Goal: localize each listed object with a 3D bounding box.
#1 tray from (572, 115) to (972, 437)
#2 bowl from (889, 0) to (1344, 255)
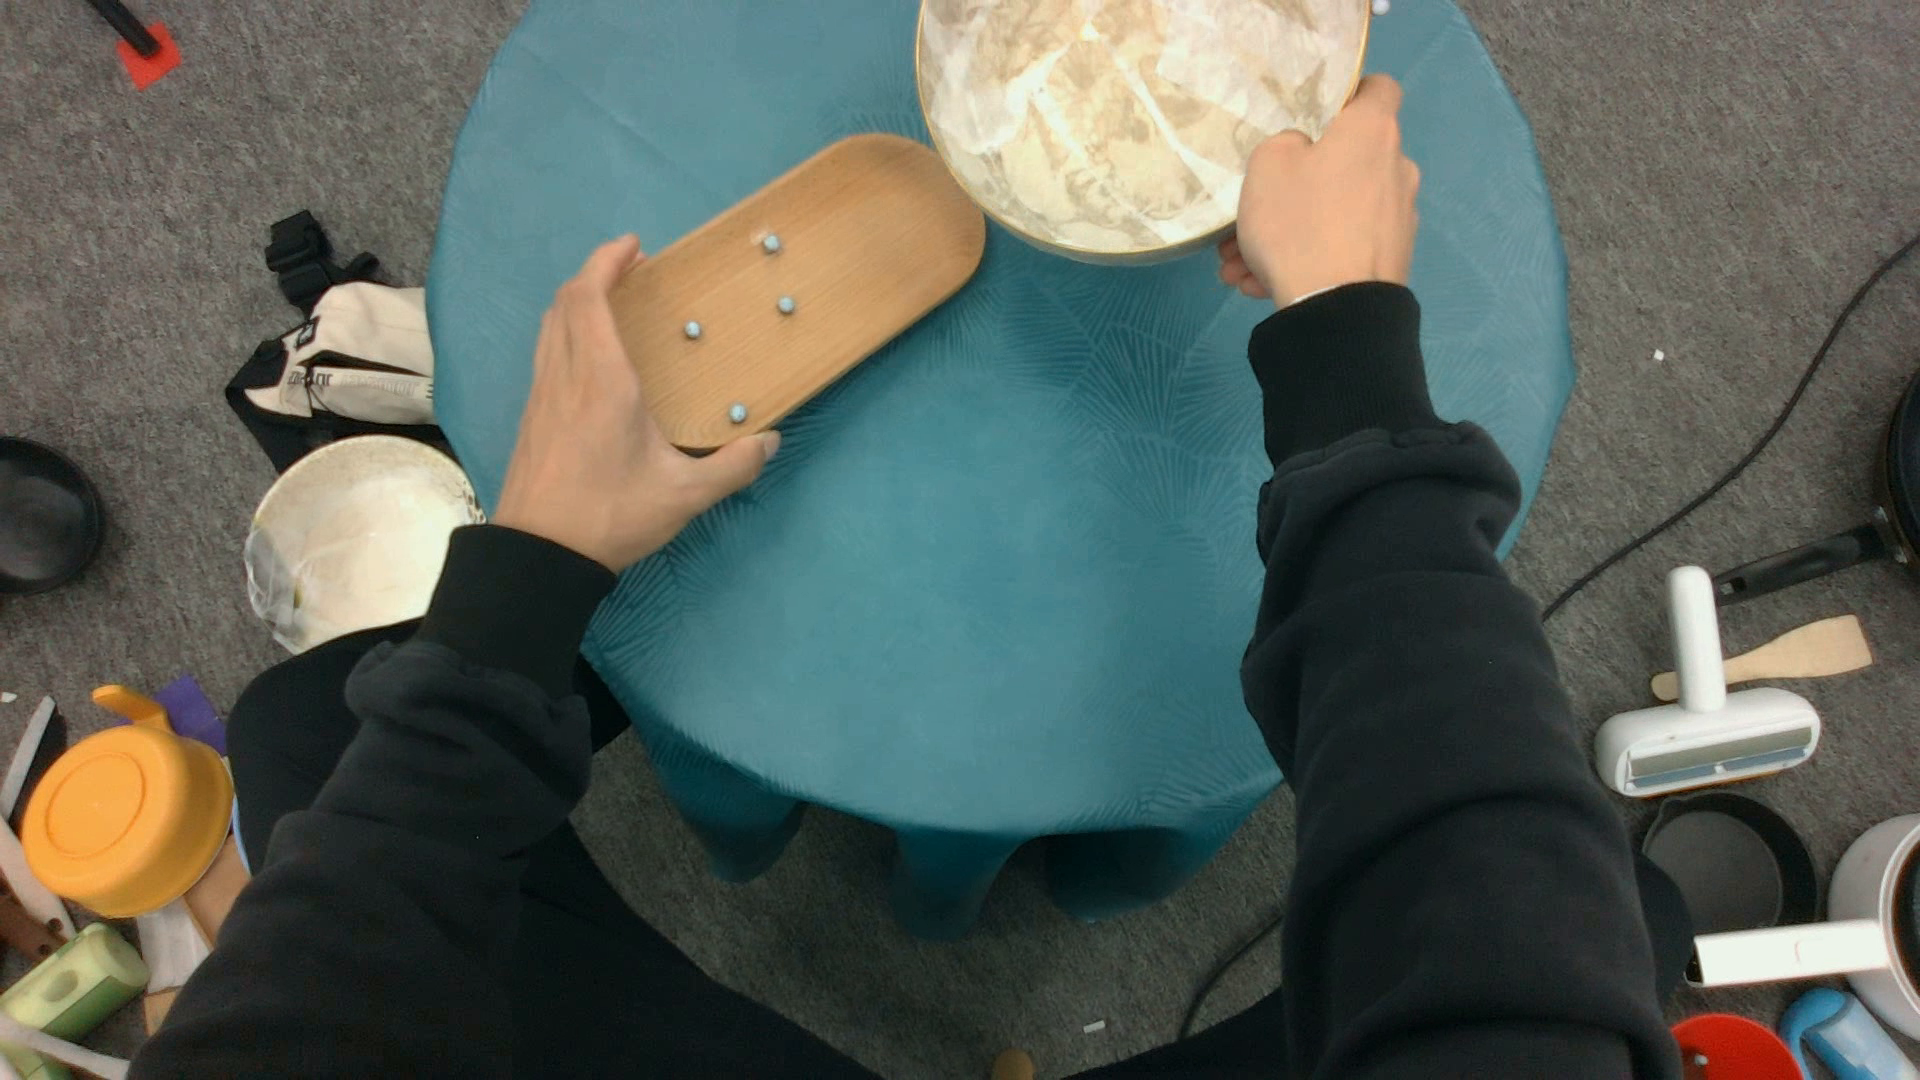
[{"bbox_3d":[-0.088,-0.135,0.686,0.101,0.020,0.232,47,63,3],"label":"tray"},{"bbox_3d":[0.074,-0.225,0.652,0.214,0.094,0.215,-1,87,14],"label":"bowl"}]
